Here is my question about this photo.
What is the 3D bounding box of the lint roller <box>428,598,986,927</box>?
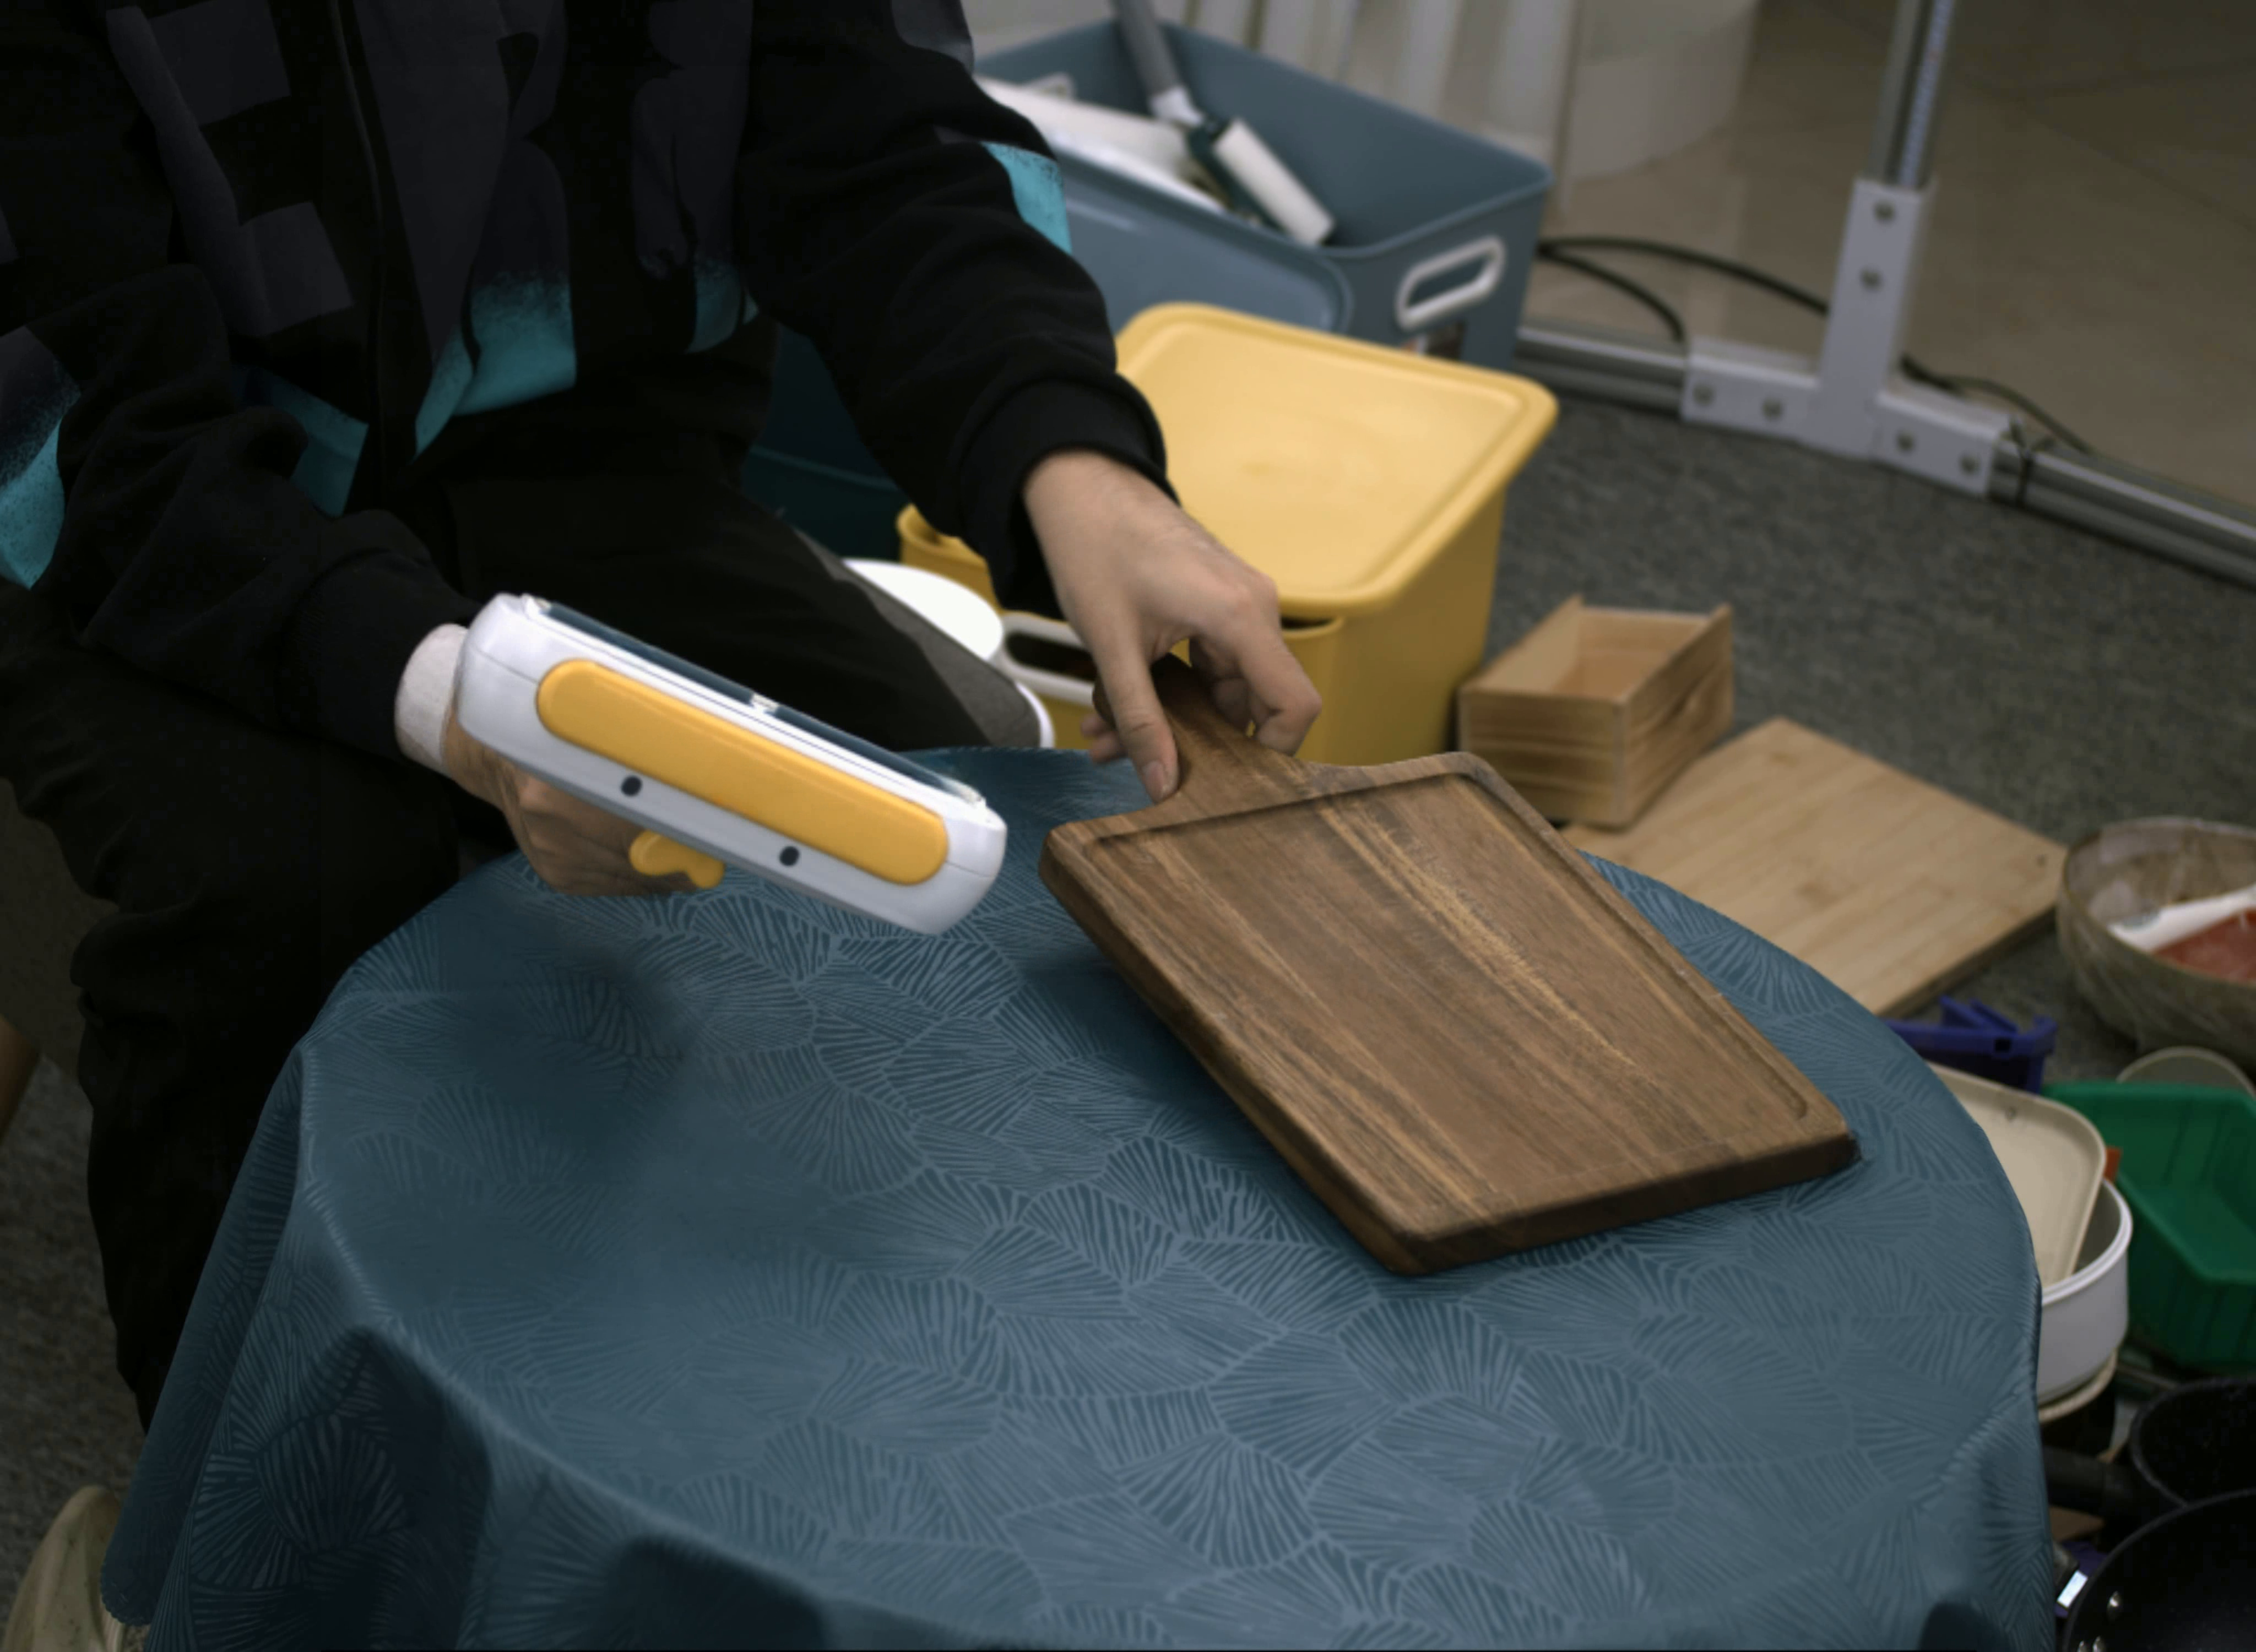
[{"bbox_3d":[-0.151,-0.016,1.816,0.192,0.074,0.193,18,-2,-10],"label":"lint roller"}]

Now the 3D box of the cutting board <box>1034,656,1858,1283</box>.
[{"bbox_3d":[0.085,0.036,1.924,0.200,0.023,0.355,-11,38,-30],"label":"cutting board"}]
